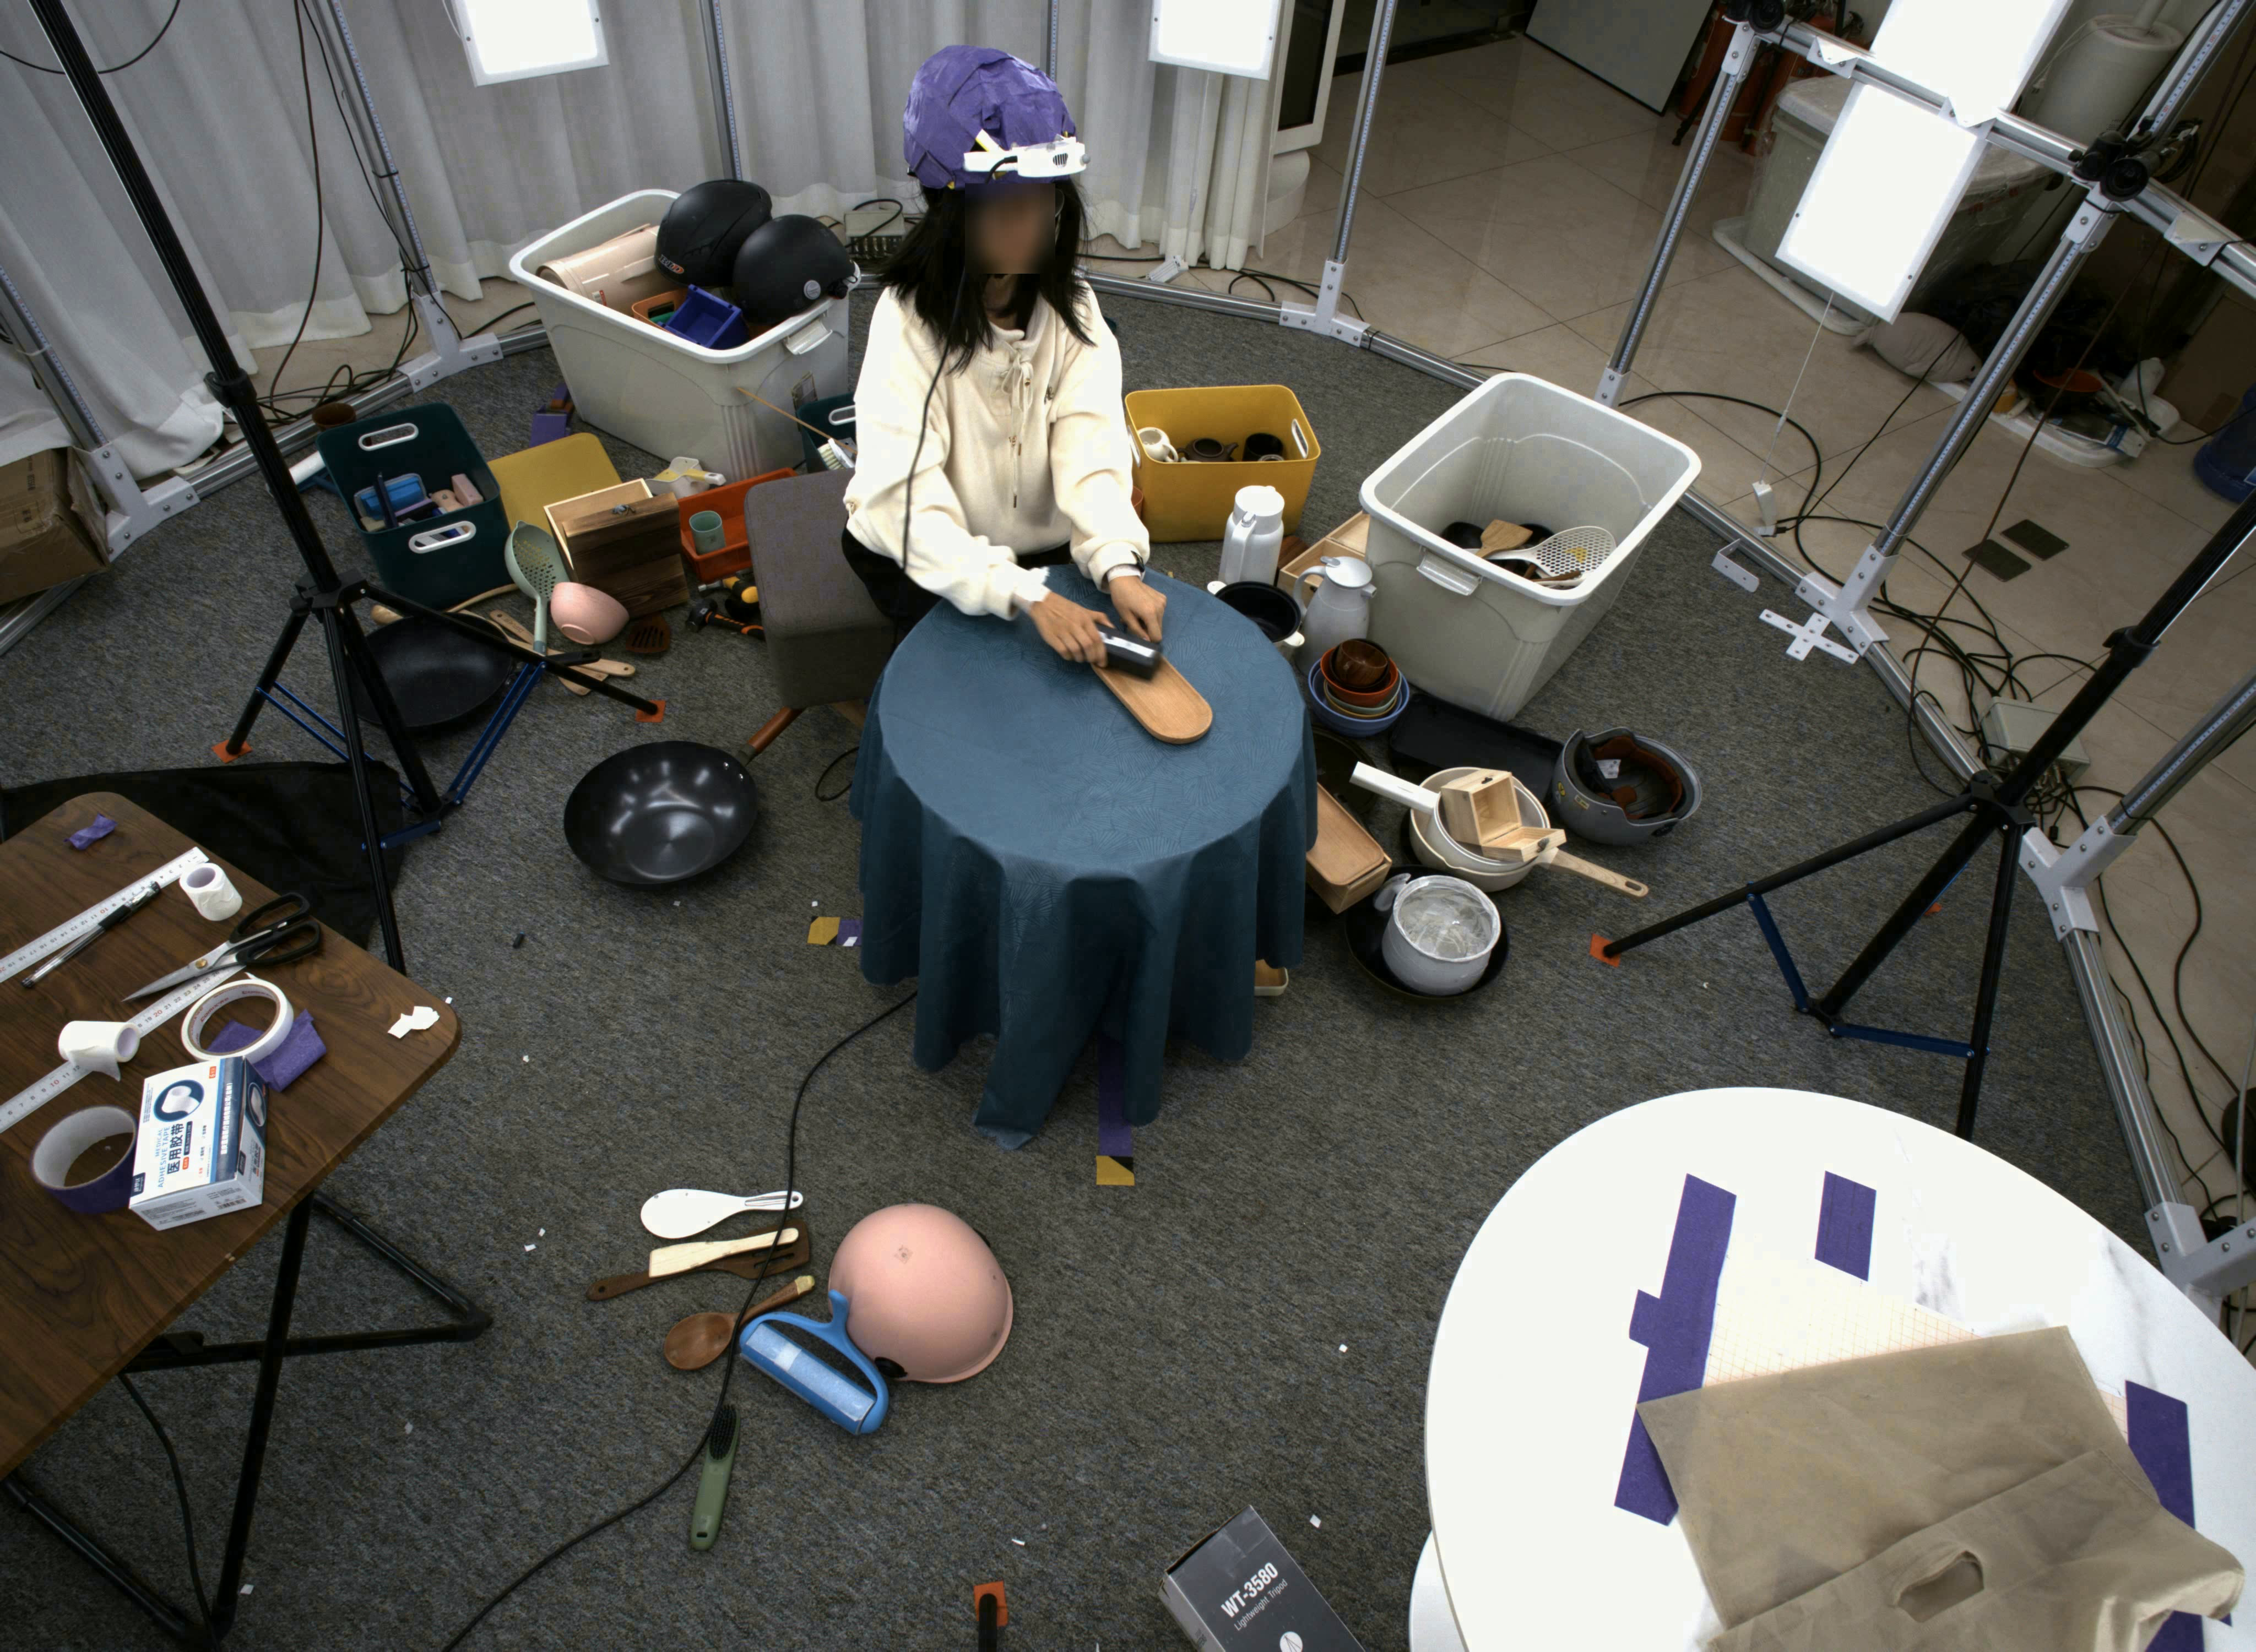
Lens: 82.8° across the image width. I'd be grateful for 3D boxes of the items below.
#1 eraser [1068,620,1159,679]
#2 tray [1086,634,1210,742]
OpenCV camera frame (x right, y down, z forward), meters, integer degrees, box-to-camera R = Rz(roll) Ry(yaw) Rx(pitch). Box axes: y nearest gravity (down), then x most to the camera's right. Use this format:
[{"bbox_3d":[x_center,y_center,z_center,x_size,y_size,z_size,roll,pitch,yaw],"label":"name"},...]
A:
[{"bbox_3d":[-0.020,-0.255,1.853,0.126,0.030,0.054,21,44,7],"label":"eraser"},{"bbox_3d":[0.027,-0.200,1.834,0.102,0.020,0.236,-24,53,-25],"label":"tray"}]
